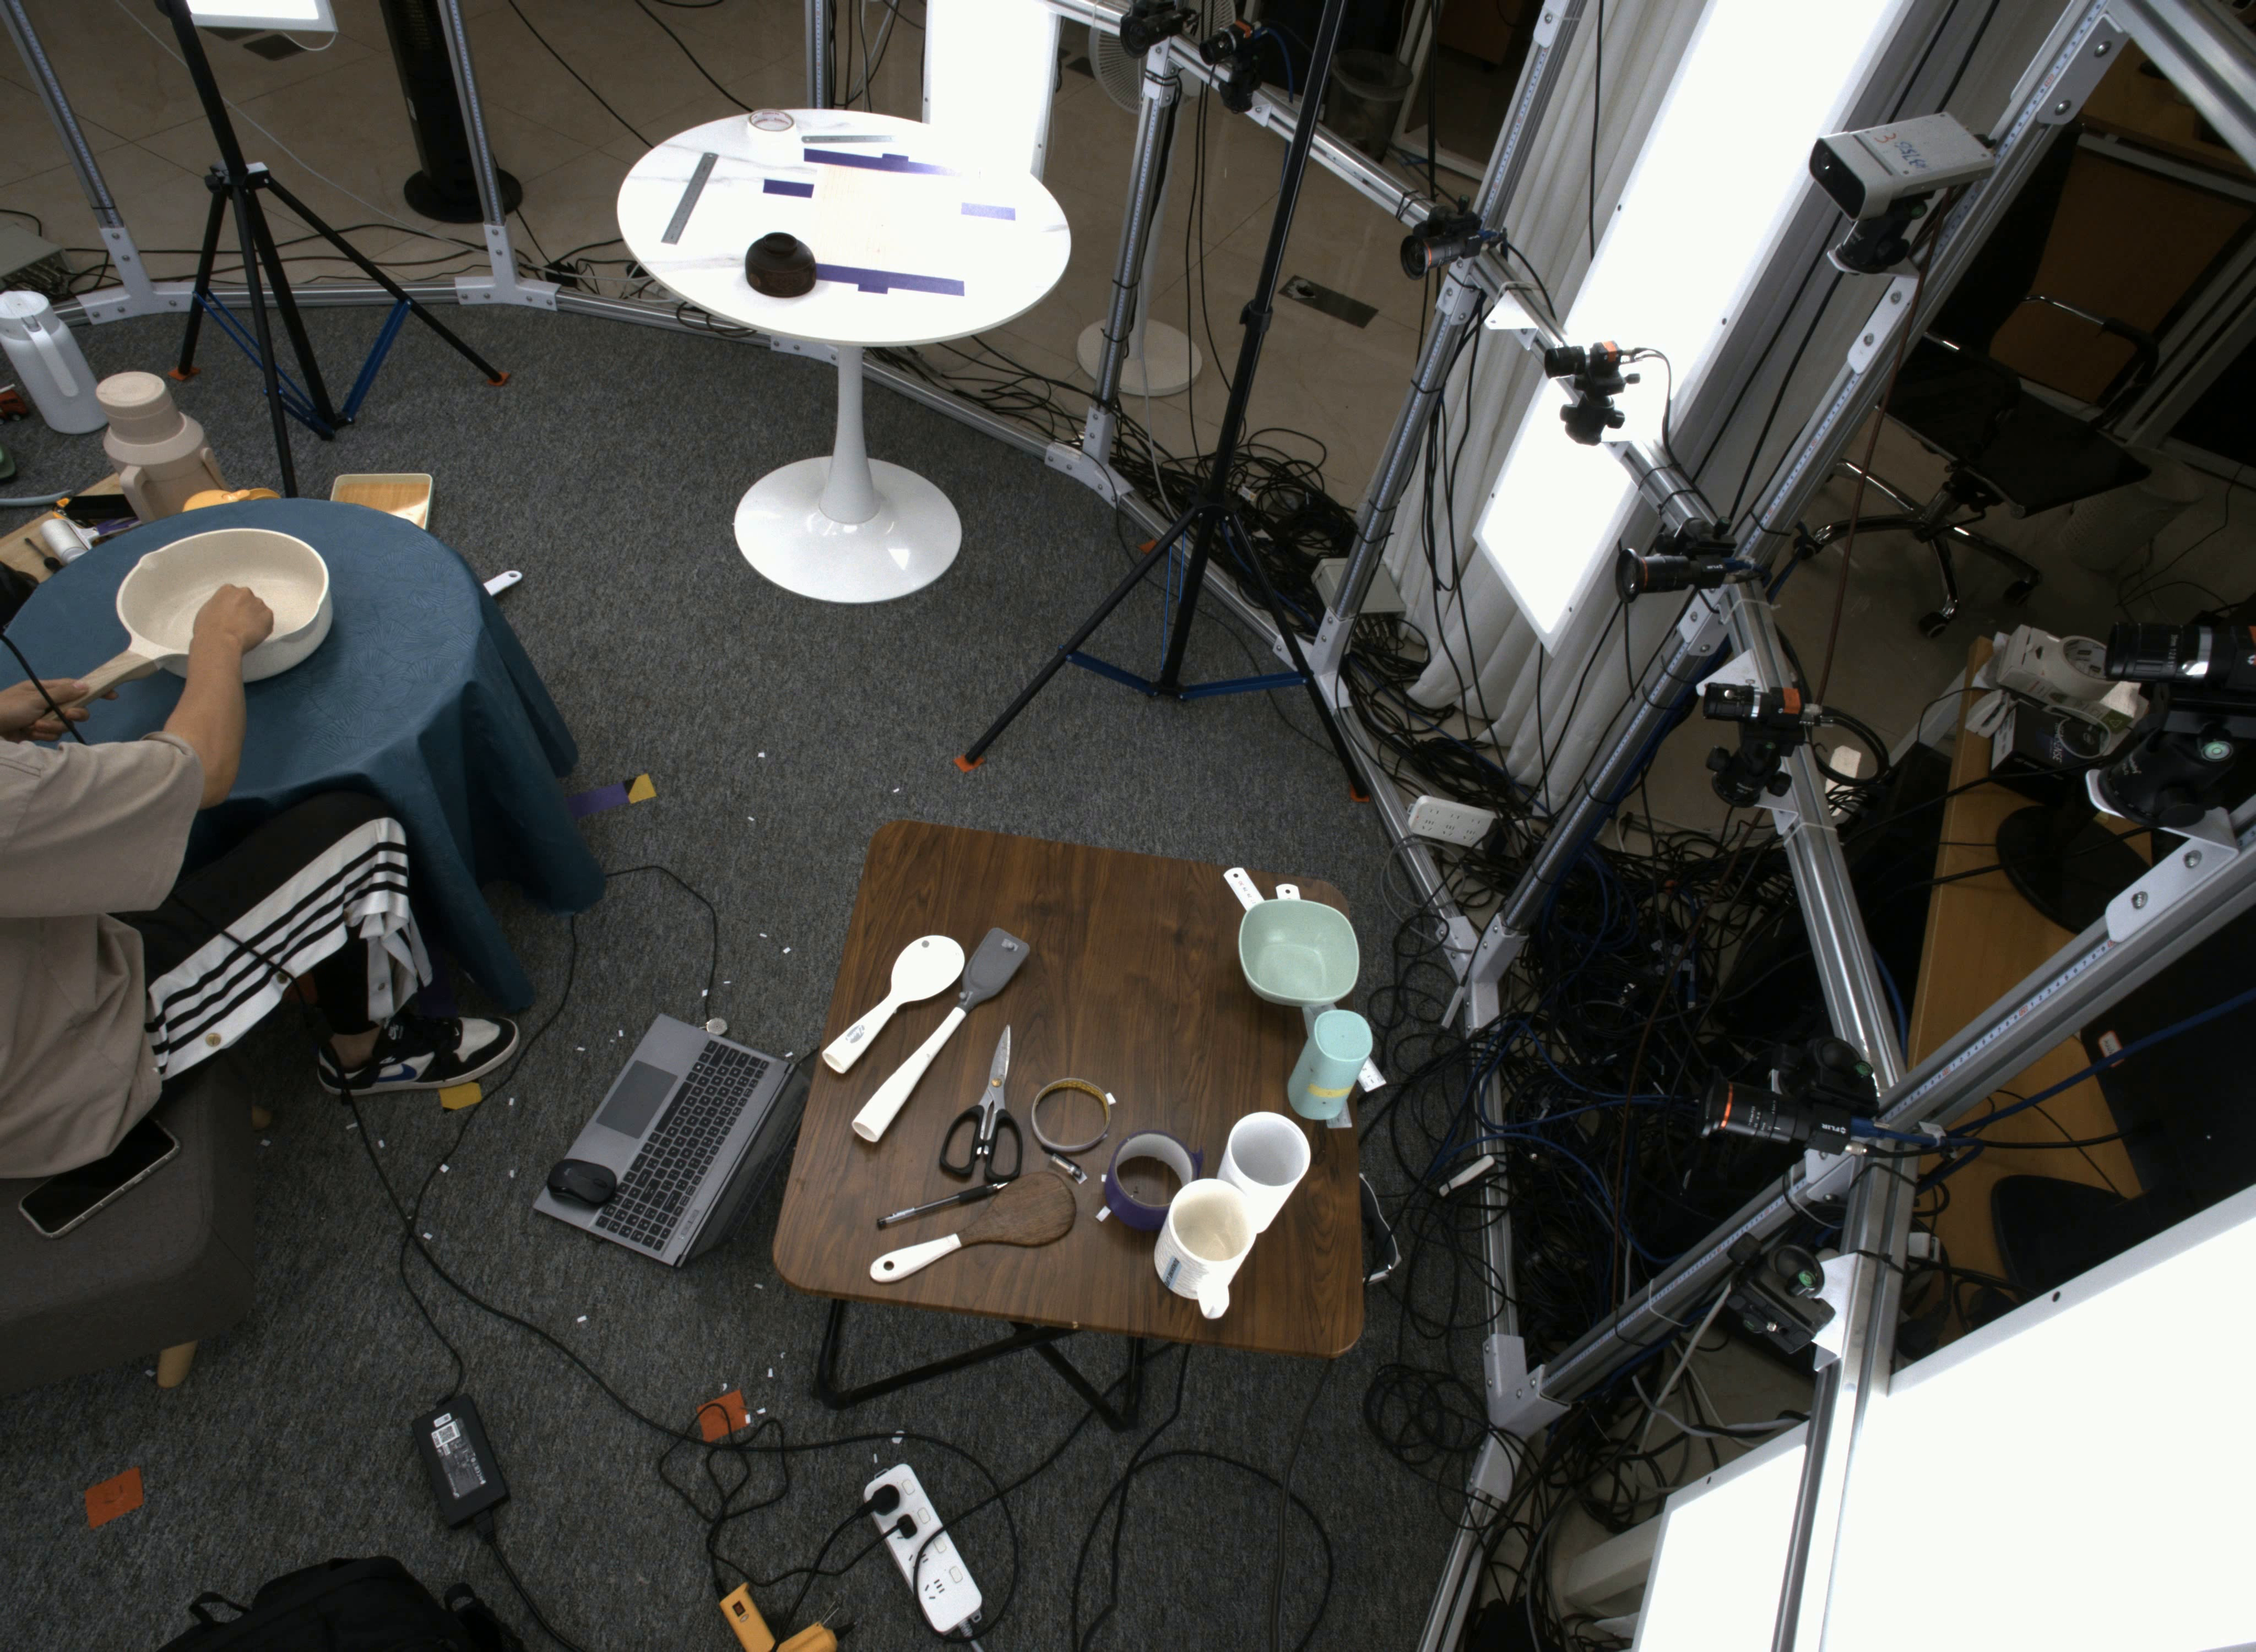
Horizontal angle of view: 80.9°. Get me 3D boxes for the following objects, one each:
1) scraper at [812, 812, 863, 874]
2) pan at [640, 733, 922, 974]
[{"bbox_3d":[-0.359,0.019,1.609,0.039,0.015,0.165,10,18,-28],"label":"scraper"},{"bbox_3d":[-0.445,0.052,1.630,0.259,0.104,0.434,35,54,11],"label":"pan"}]
